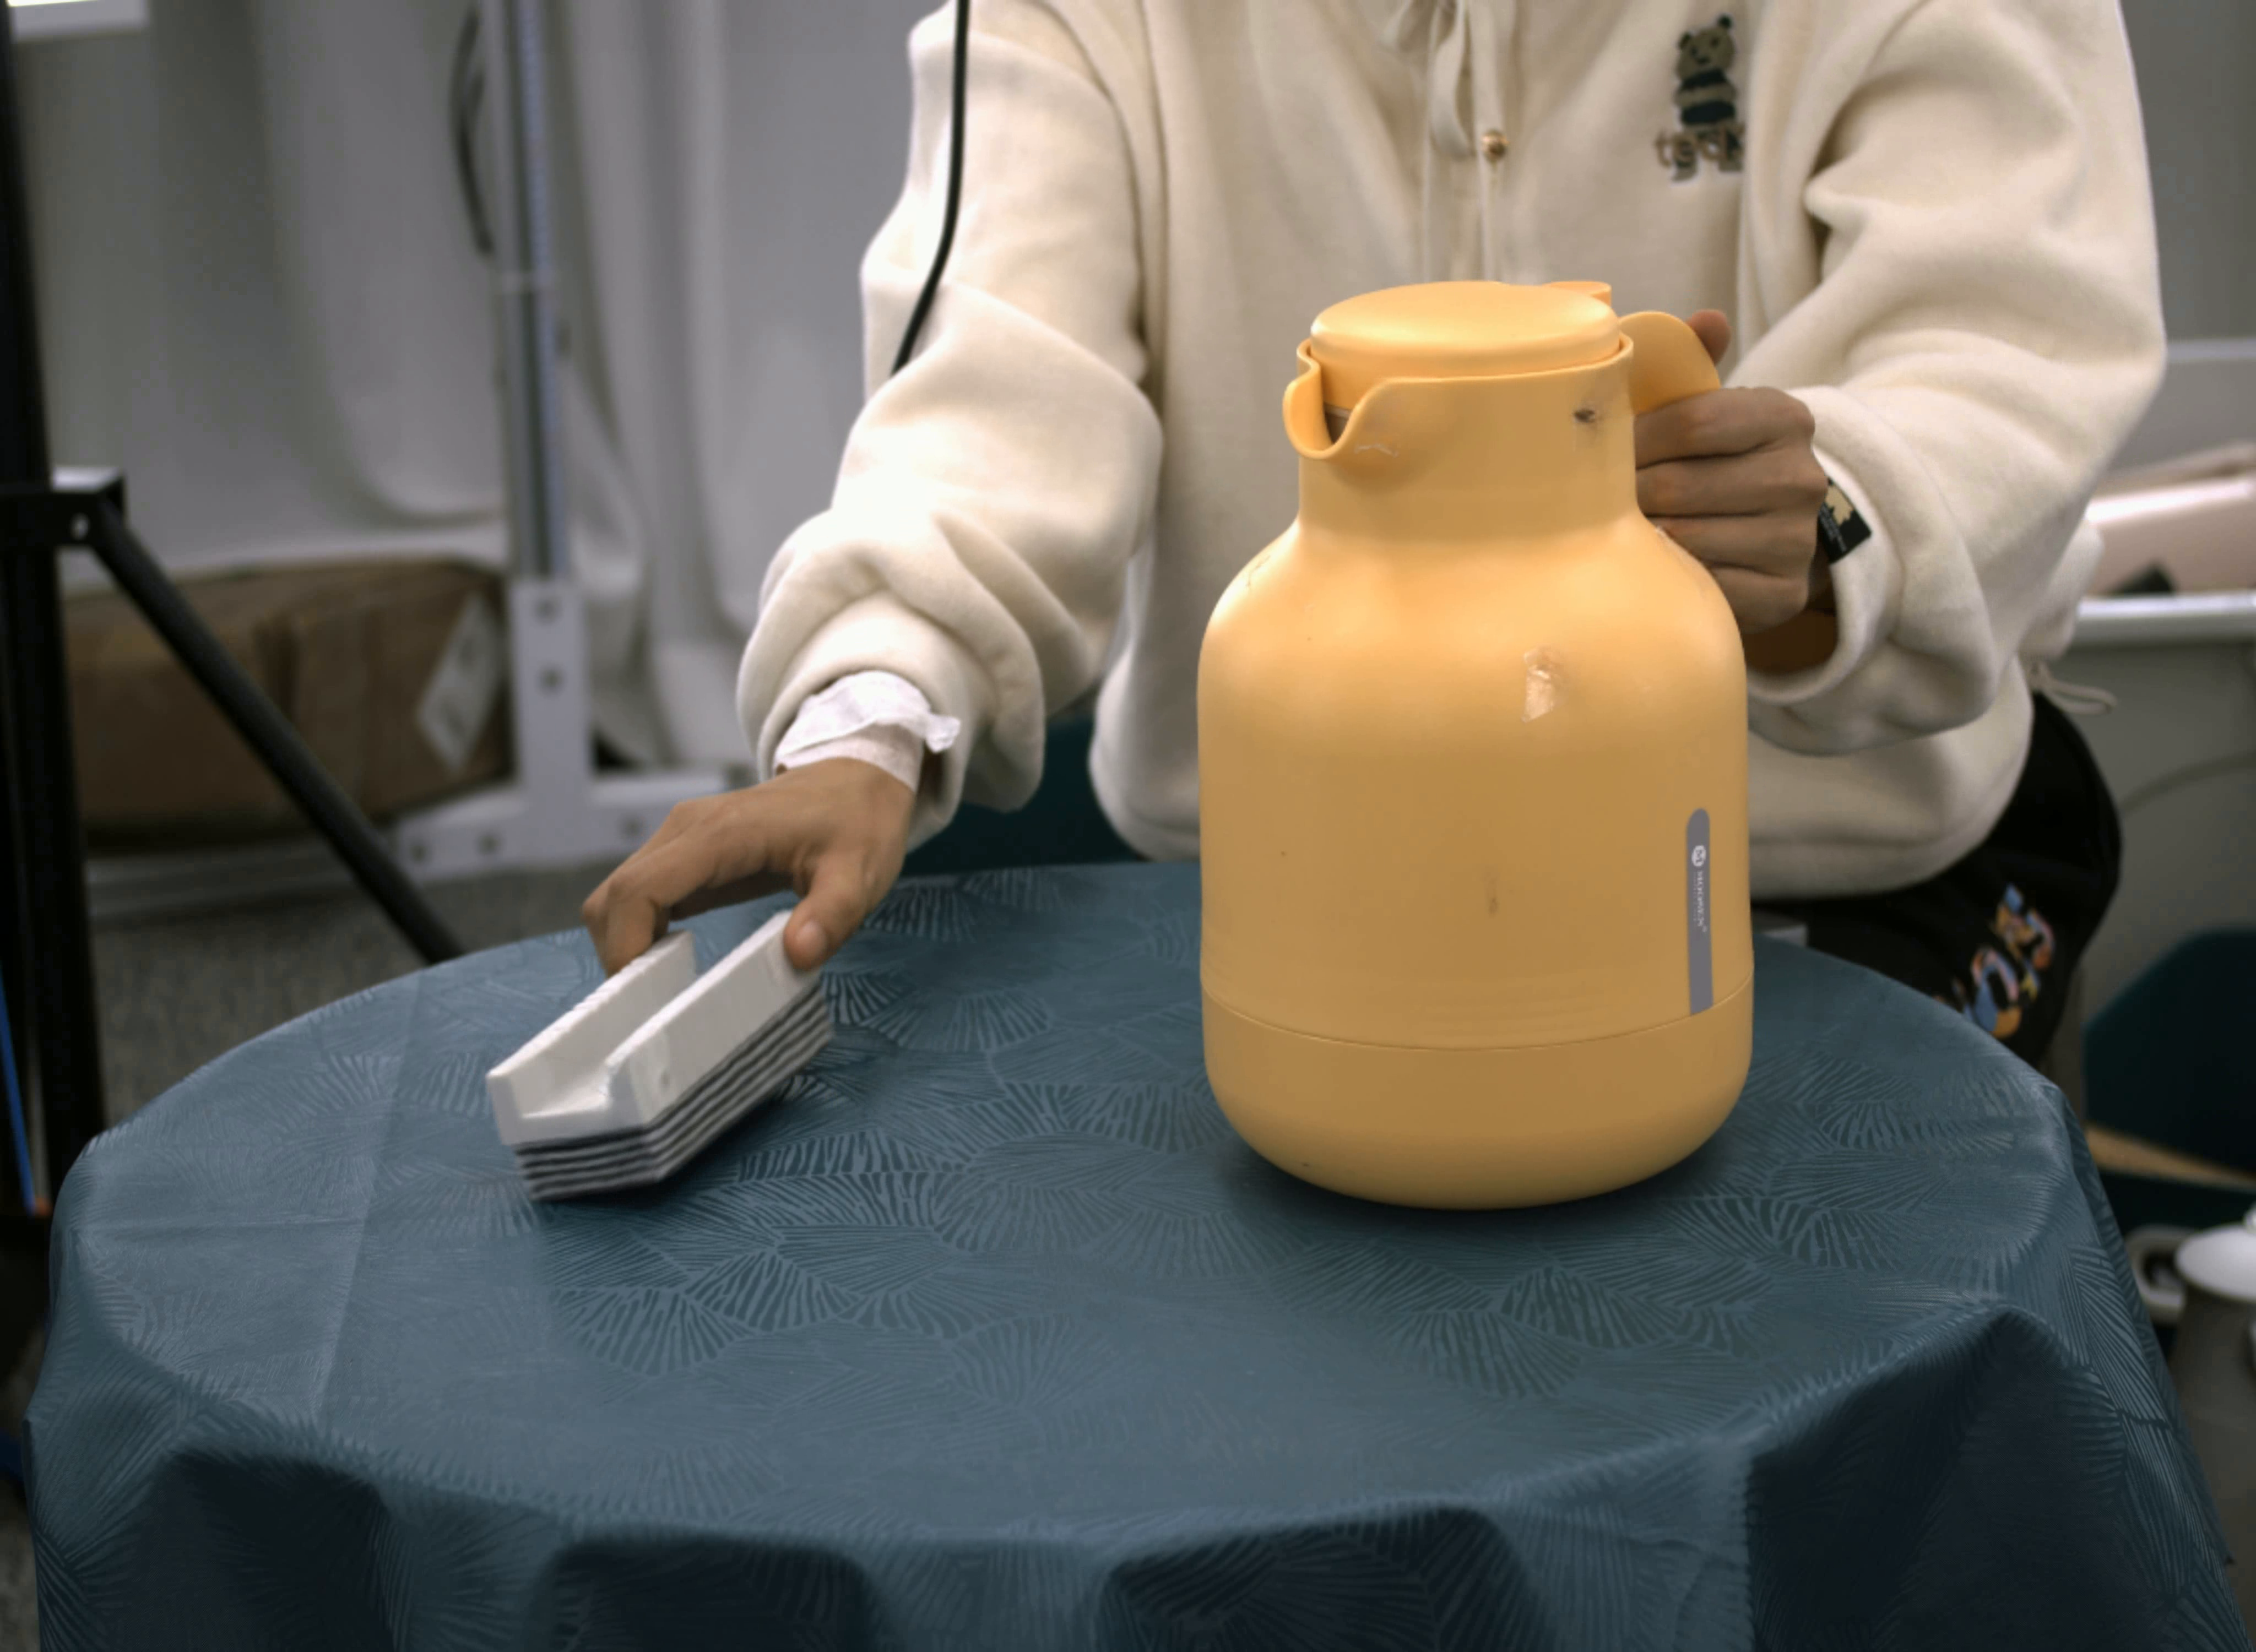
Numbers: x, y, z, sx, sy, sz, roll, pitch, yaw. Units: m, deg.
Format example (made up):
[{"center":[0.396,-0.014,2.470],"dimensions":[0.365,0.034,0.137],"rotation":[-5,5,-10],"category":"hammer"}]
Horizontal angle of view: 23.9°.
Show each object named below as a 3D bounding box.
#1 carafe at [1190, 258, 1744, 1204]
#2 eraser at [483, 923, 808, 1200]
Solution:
[{"center":[0.112,-0.035,1.557],"dimensions":[0.167,0.260,0.198],"rotation":[15,24,39],"category":"carafe"},{"center":[-0.143,0.071,1.620],"dimensions":[0.050,0.046,0.133],"rotation":[-11,13,21],"category":"eraser"}]
